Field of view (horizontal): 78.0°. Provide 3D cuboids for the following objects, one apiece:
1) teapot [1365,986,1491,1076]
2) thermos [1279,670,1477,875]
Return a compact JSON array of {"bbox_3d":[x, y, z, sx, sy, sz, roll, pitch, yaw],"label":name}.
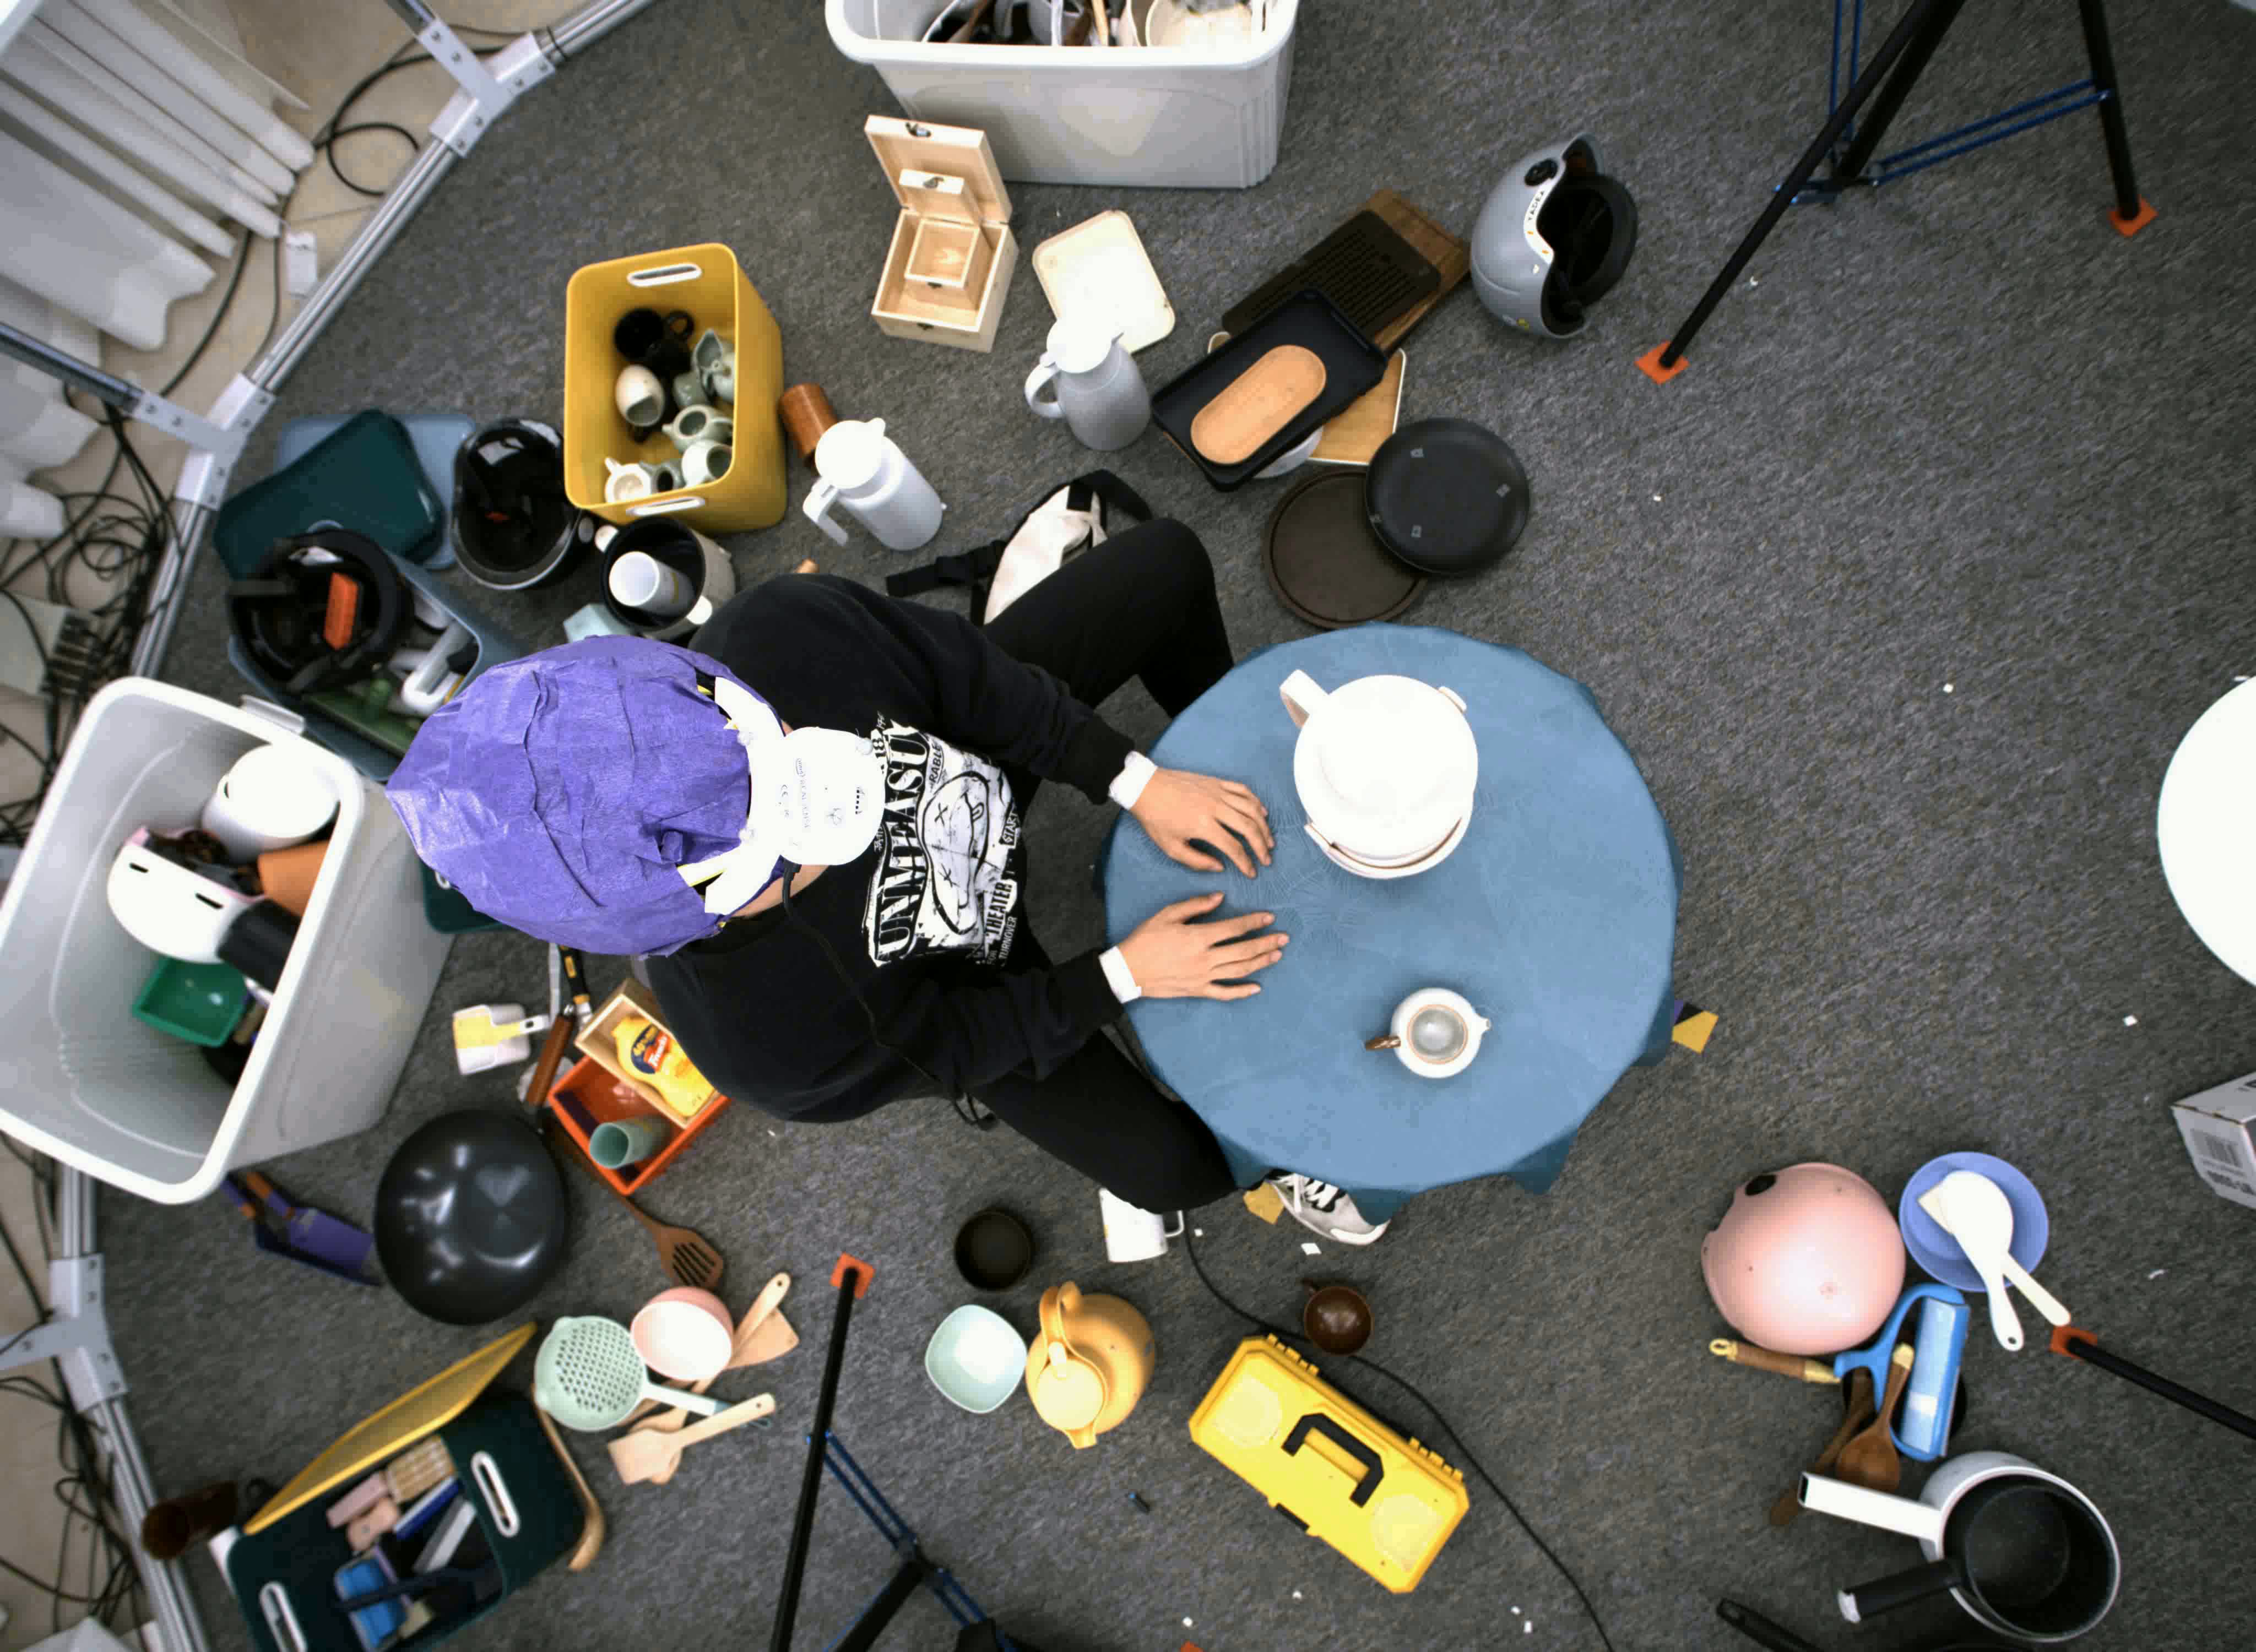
[{"bbox_3d":[0.307,0.211,1.417,0.129,0.059,0.091,-14,89,9],"label":"teapot"},{"bbox_3d":[0.227,-0.055,1.275,0.206,0.406,0.176,44,95,10],"label":"thermos"}]
